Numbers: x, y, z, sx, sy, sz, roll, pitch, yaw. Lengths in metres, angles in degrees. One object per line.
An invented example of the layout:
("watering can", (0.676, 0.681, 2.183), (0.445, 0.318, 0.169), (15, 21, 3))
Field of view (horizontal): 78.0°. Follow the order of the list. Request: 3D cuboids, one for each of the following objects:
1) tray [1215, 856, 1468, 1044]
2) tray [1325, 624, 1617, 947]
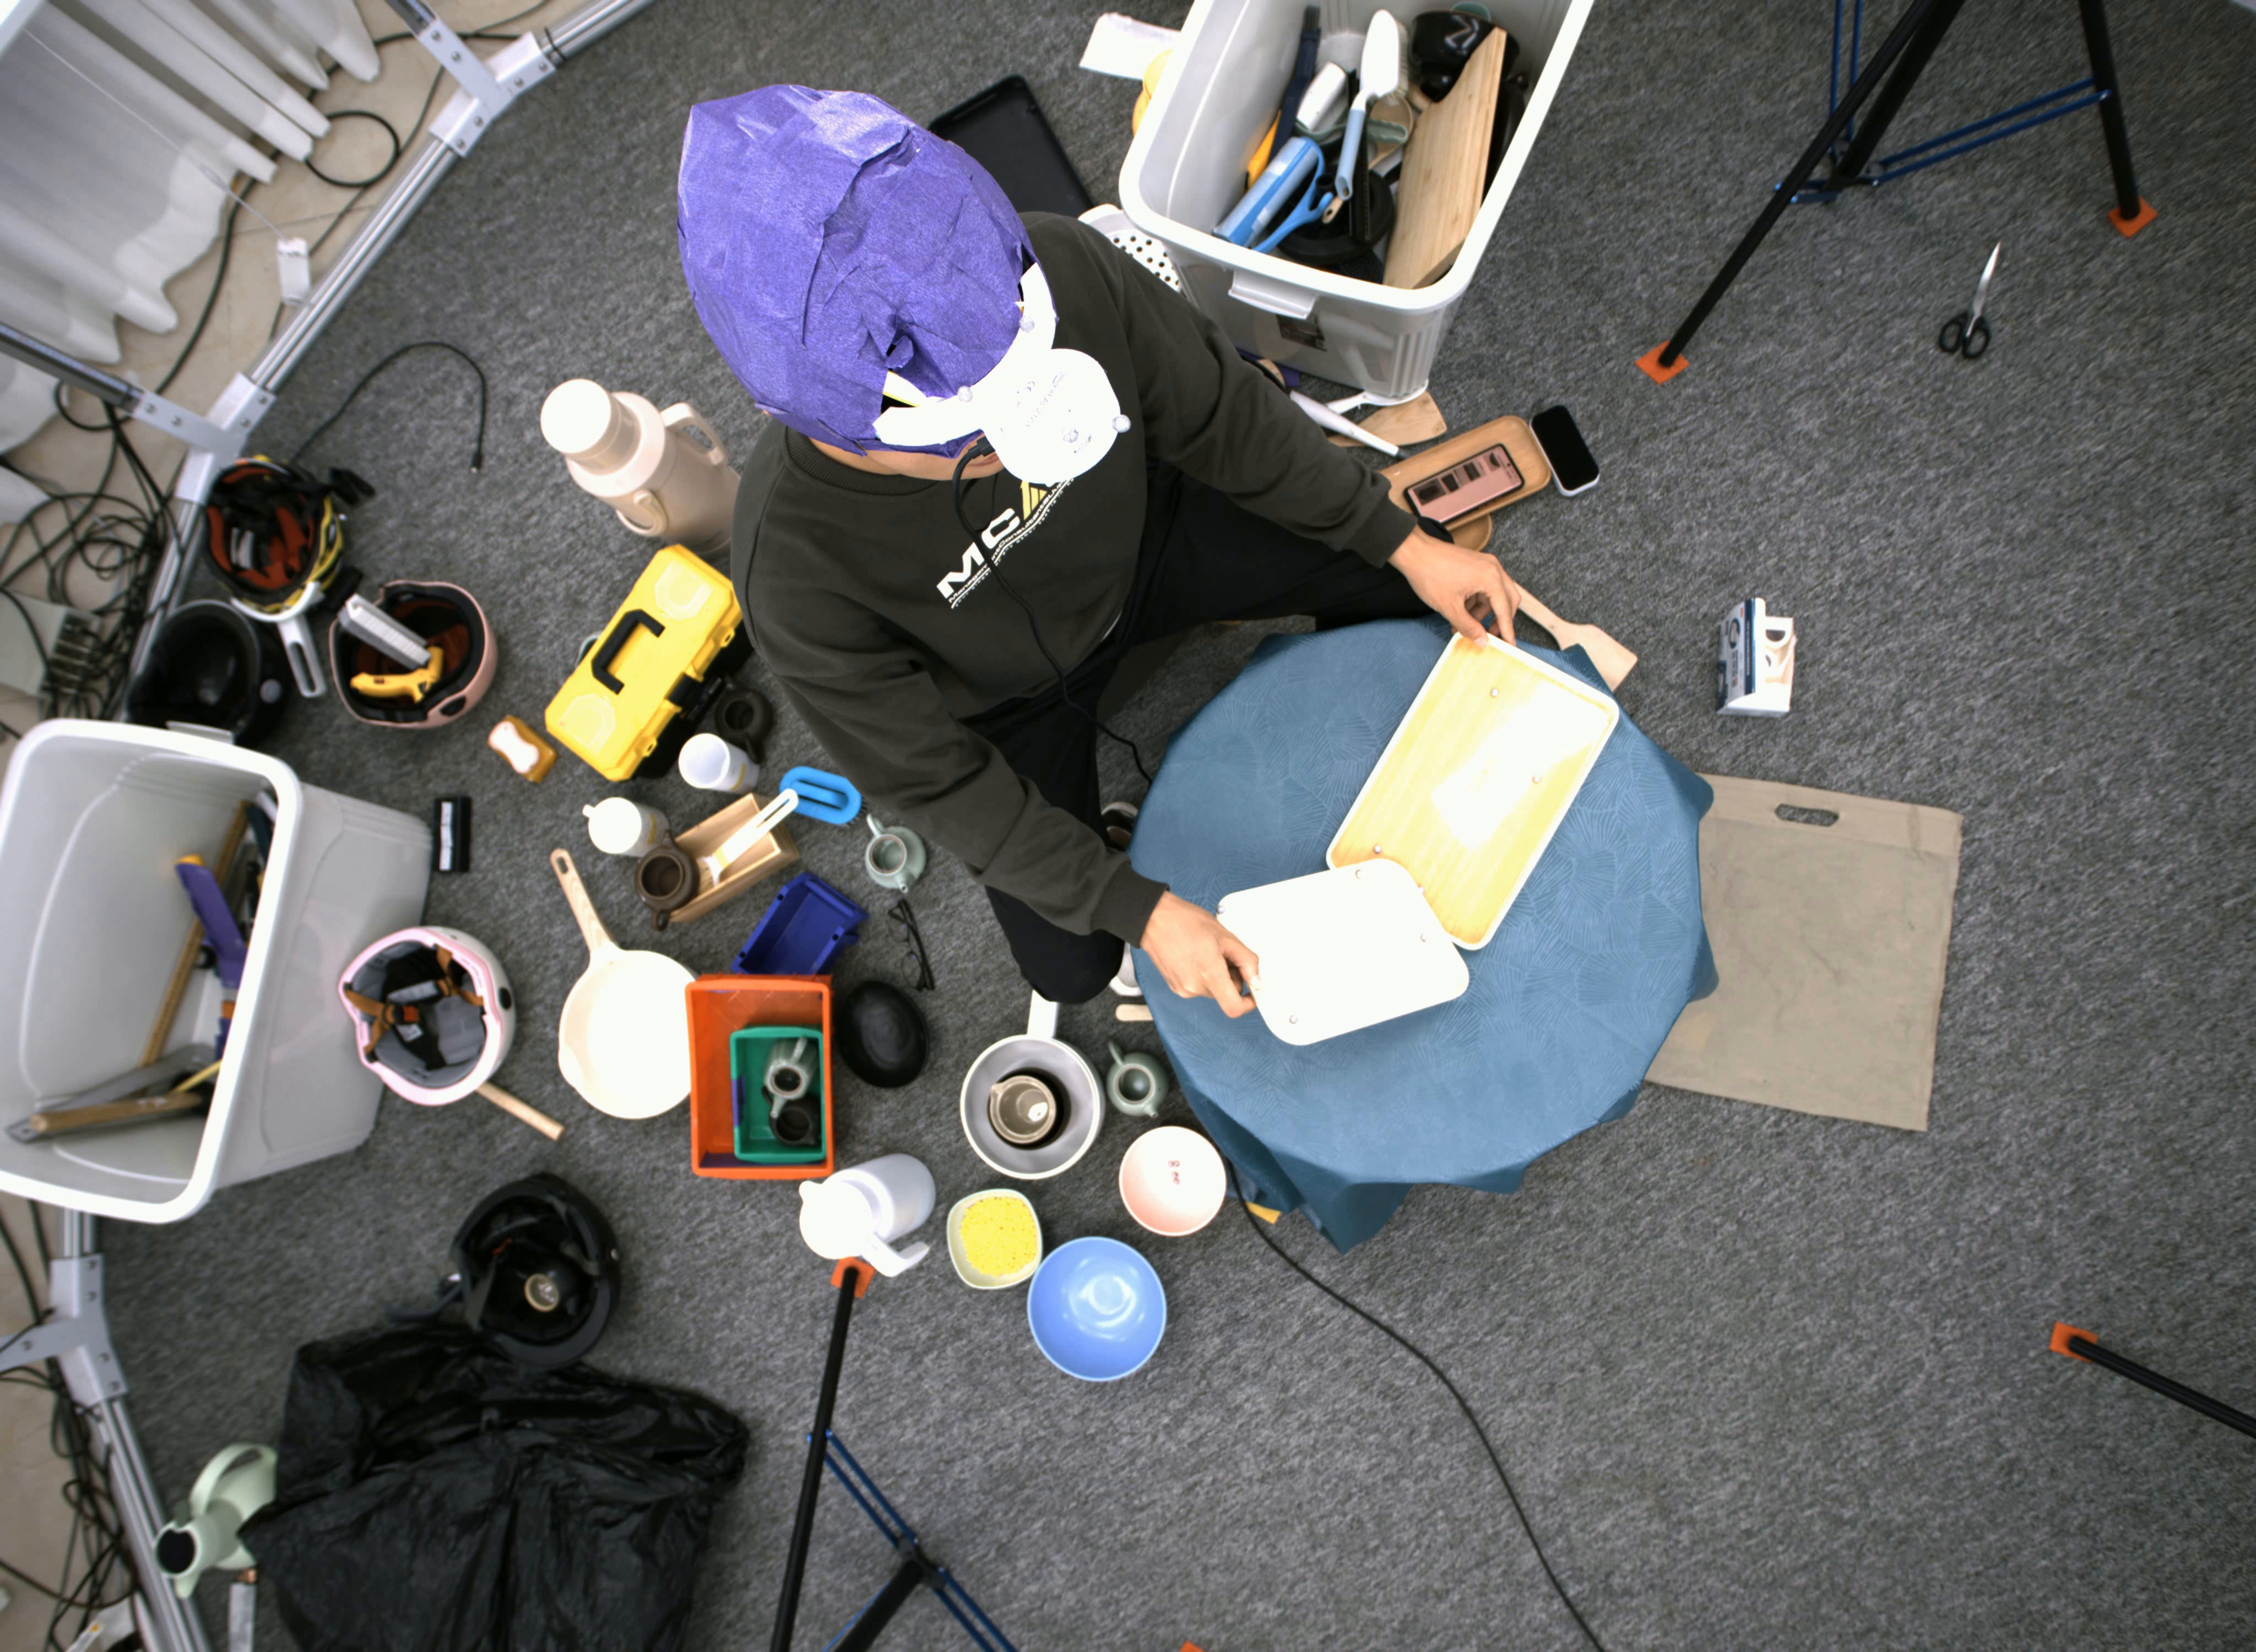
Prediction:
("tray", (0.211, 0.119, 1.368), (0.237, 0.018, 0.168), (-13, 61, -26))
("tray", (0.357, -0.045, 1.437), (0.191, 0.027, 0.300), (31, 92, 11))
